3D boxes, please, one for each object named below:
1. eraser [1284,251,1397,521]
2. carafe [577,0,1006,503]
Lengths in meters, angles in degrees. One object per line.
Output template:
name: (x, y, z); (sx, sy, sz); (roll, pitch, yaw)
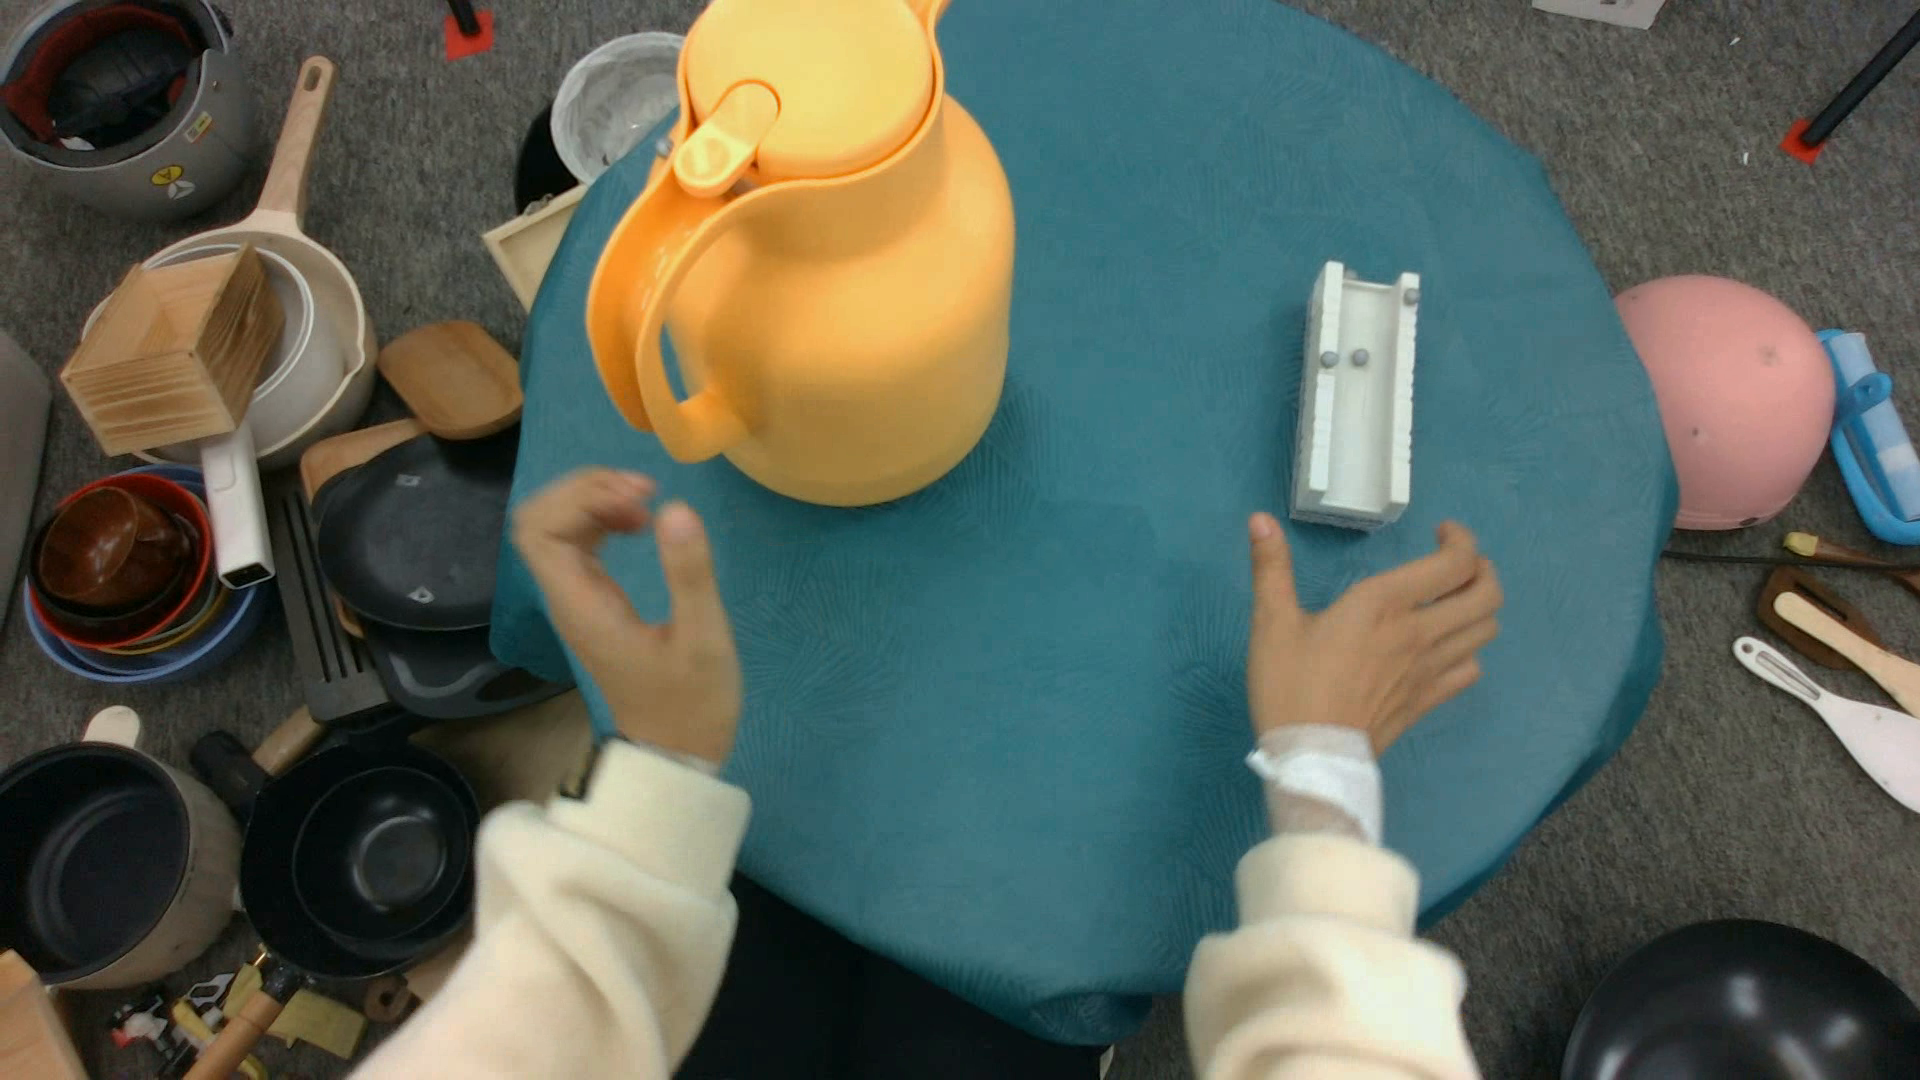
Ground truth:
eraser: (0.196, -0.080, 0.714); (0.050, 0.046, 0.135); (8, 67, -3)
carafe: (-0.074, -0.119, 0.601); (0.163, 0.259, 0.203); (37, 70, 14)
